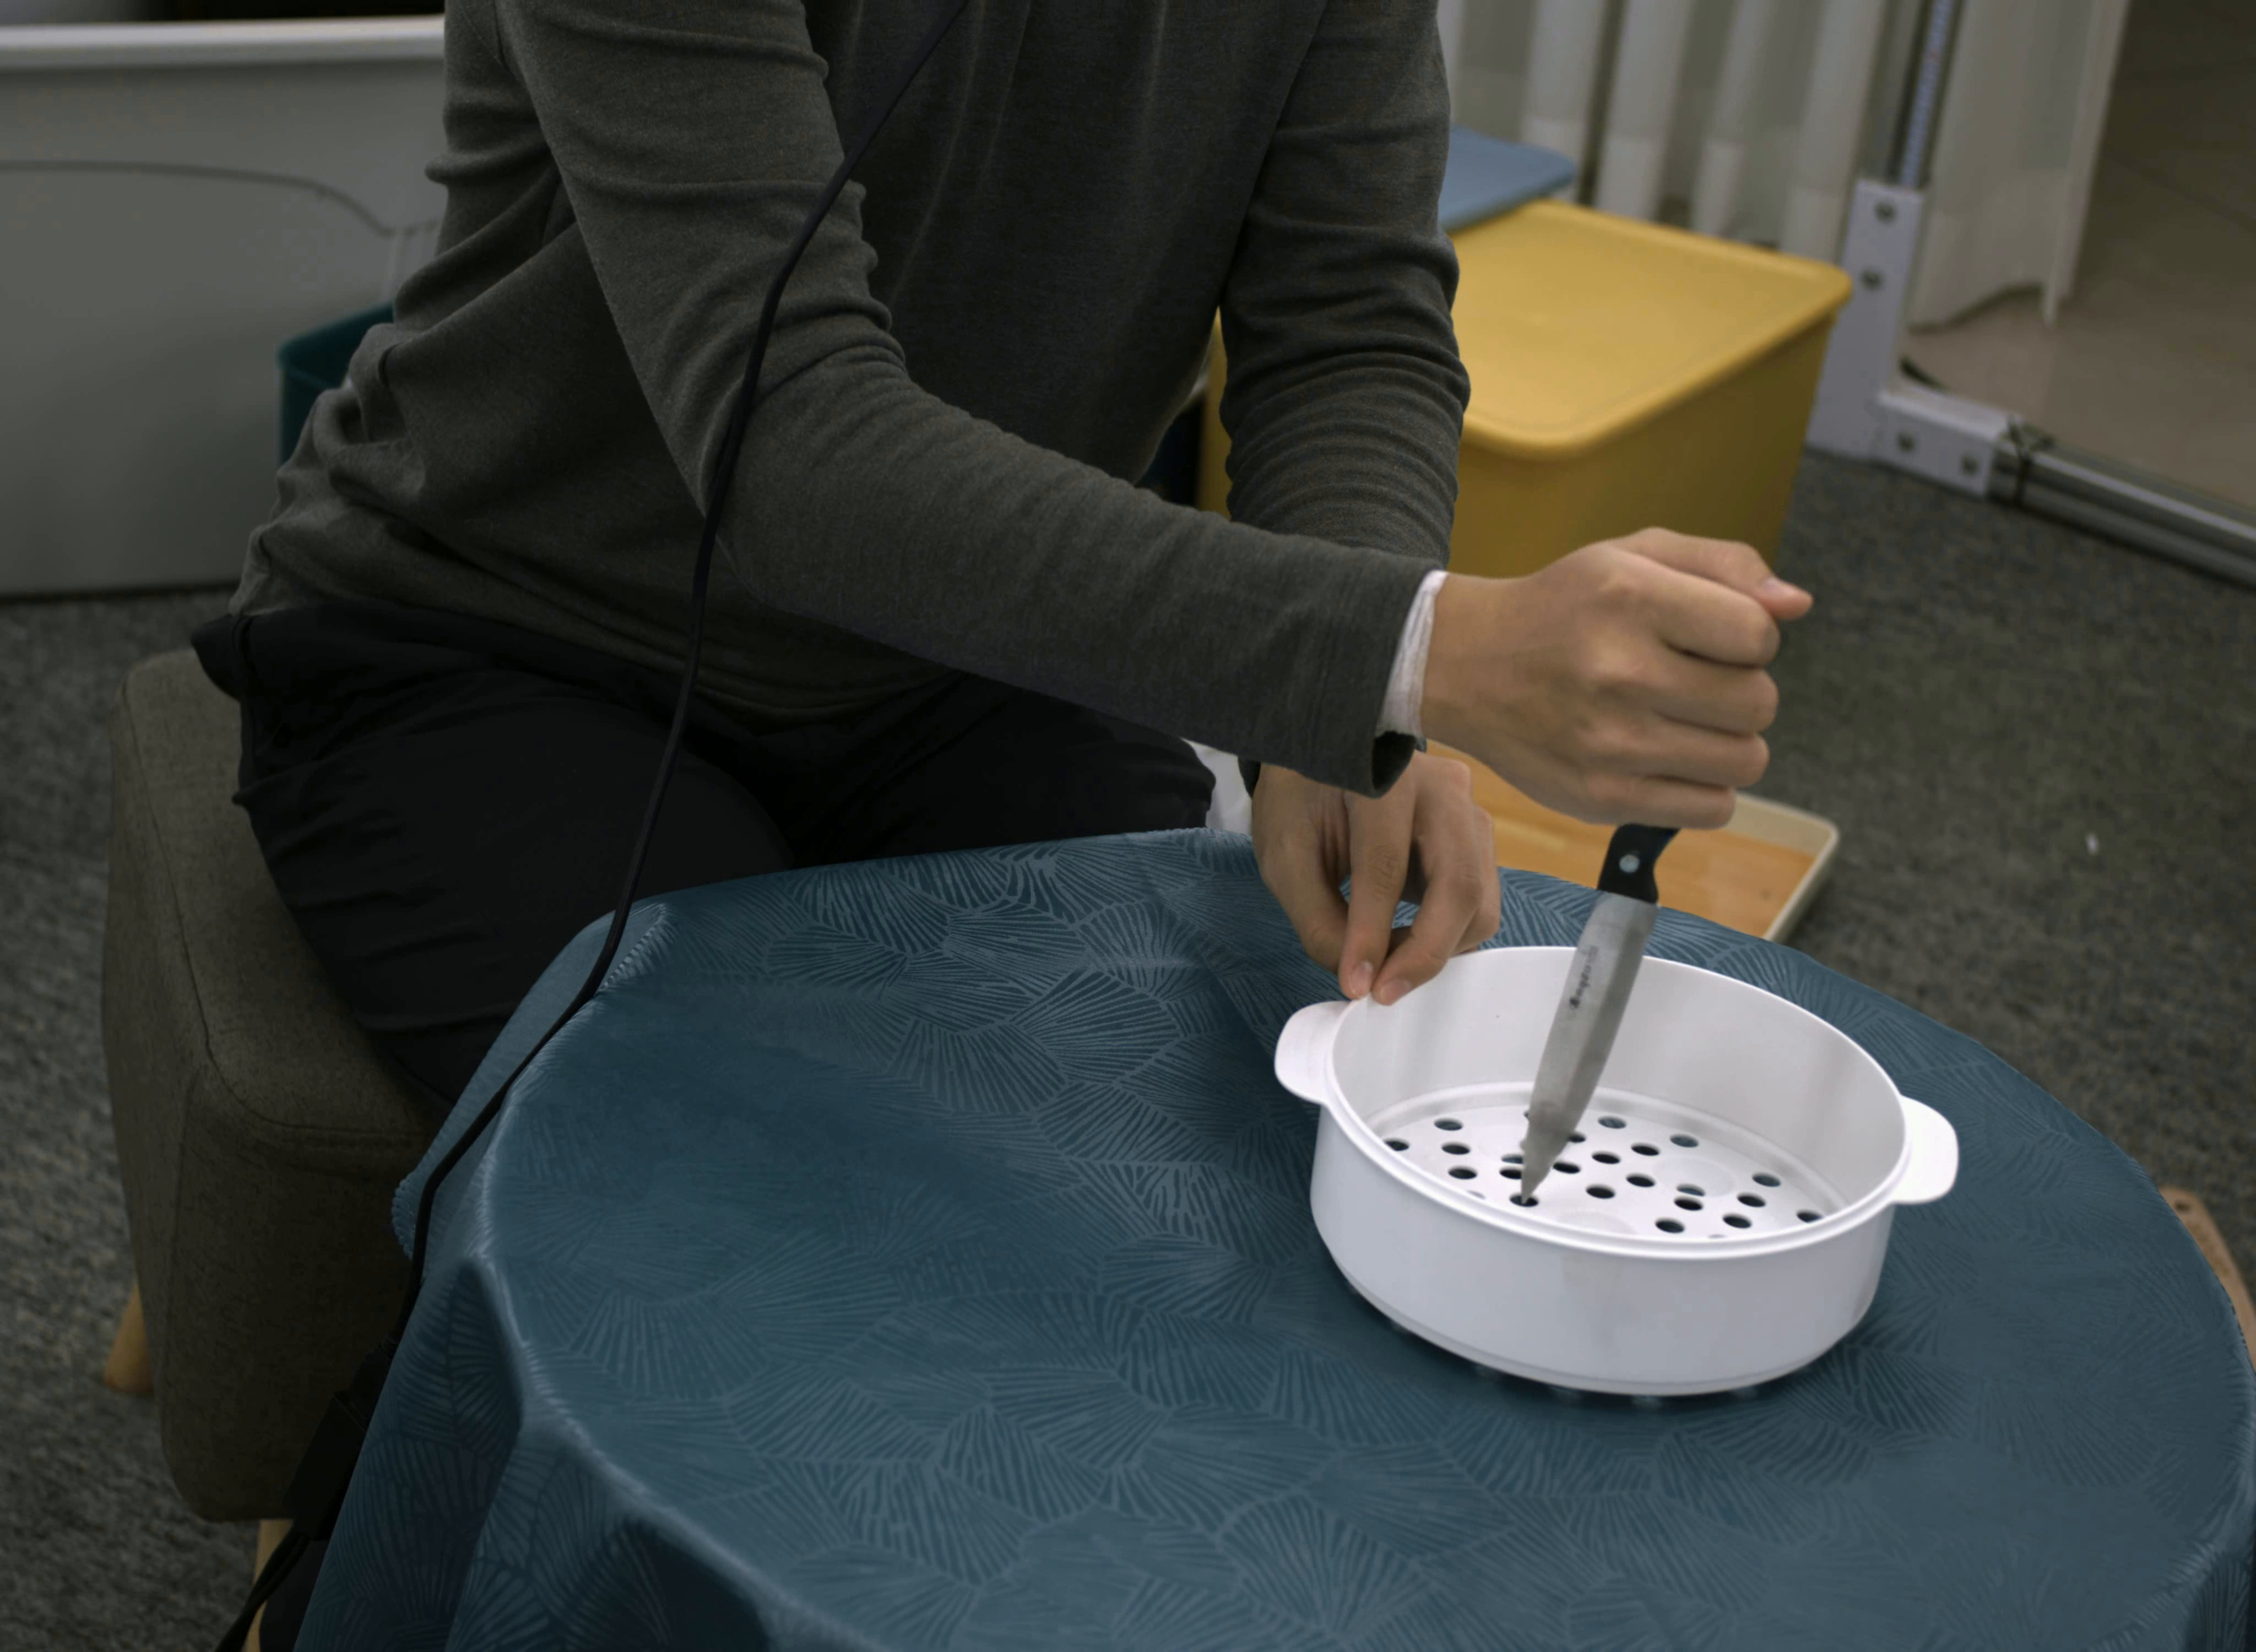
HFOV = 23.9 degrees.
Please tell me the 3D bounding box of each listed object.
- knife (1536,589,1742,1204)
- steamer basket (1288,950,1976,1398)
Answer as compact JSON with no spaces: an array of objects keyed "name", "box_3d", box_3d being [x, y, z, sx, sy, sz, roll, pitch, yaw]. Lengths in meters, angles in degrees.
[{"name":"knife","box_3d":[0.161,0.026,1.742,0.024,0.237,0.016,21,29,13]},{"name":"steamer basket","box_3d":[0.165,0.116,1.782,0.230,0.069,0.202,9,26,7]}]
